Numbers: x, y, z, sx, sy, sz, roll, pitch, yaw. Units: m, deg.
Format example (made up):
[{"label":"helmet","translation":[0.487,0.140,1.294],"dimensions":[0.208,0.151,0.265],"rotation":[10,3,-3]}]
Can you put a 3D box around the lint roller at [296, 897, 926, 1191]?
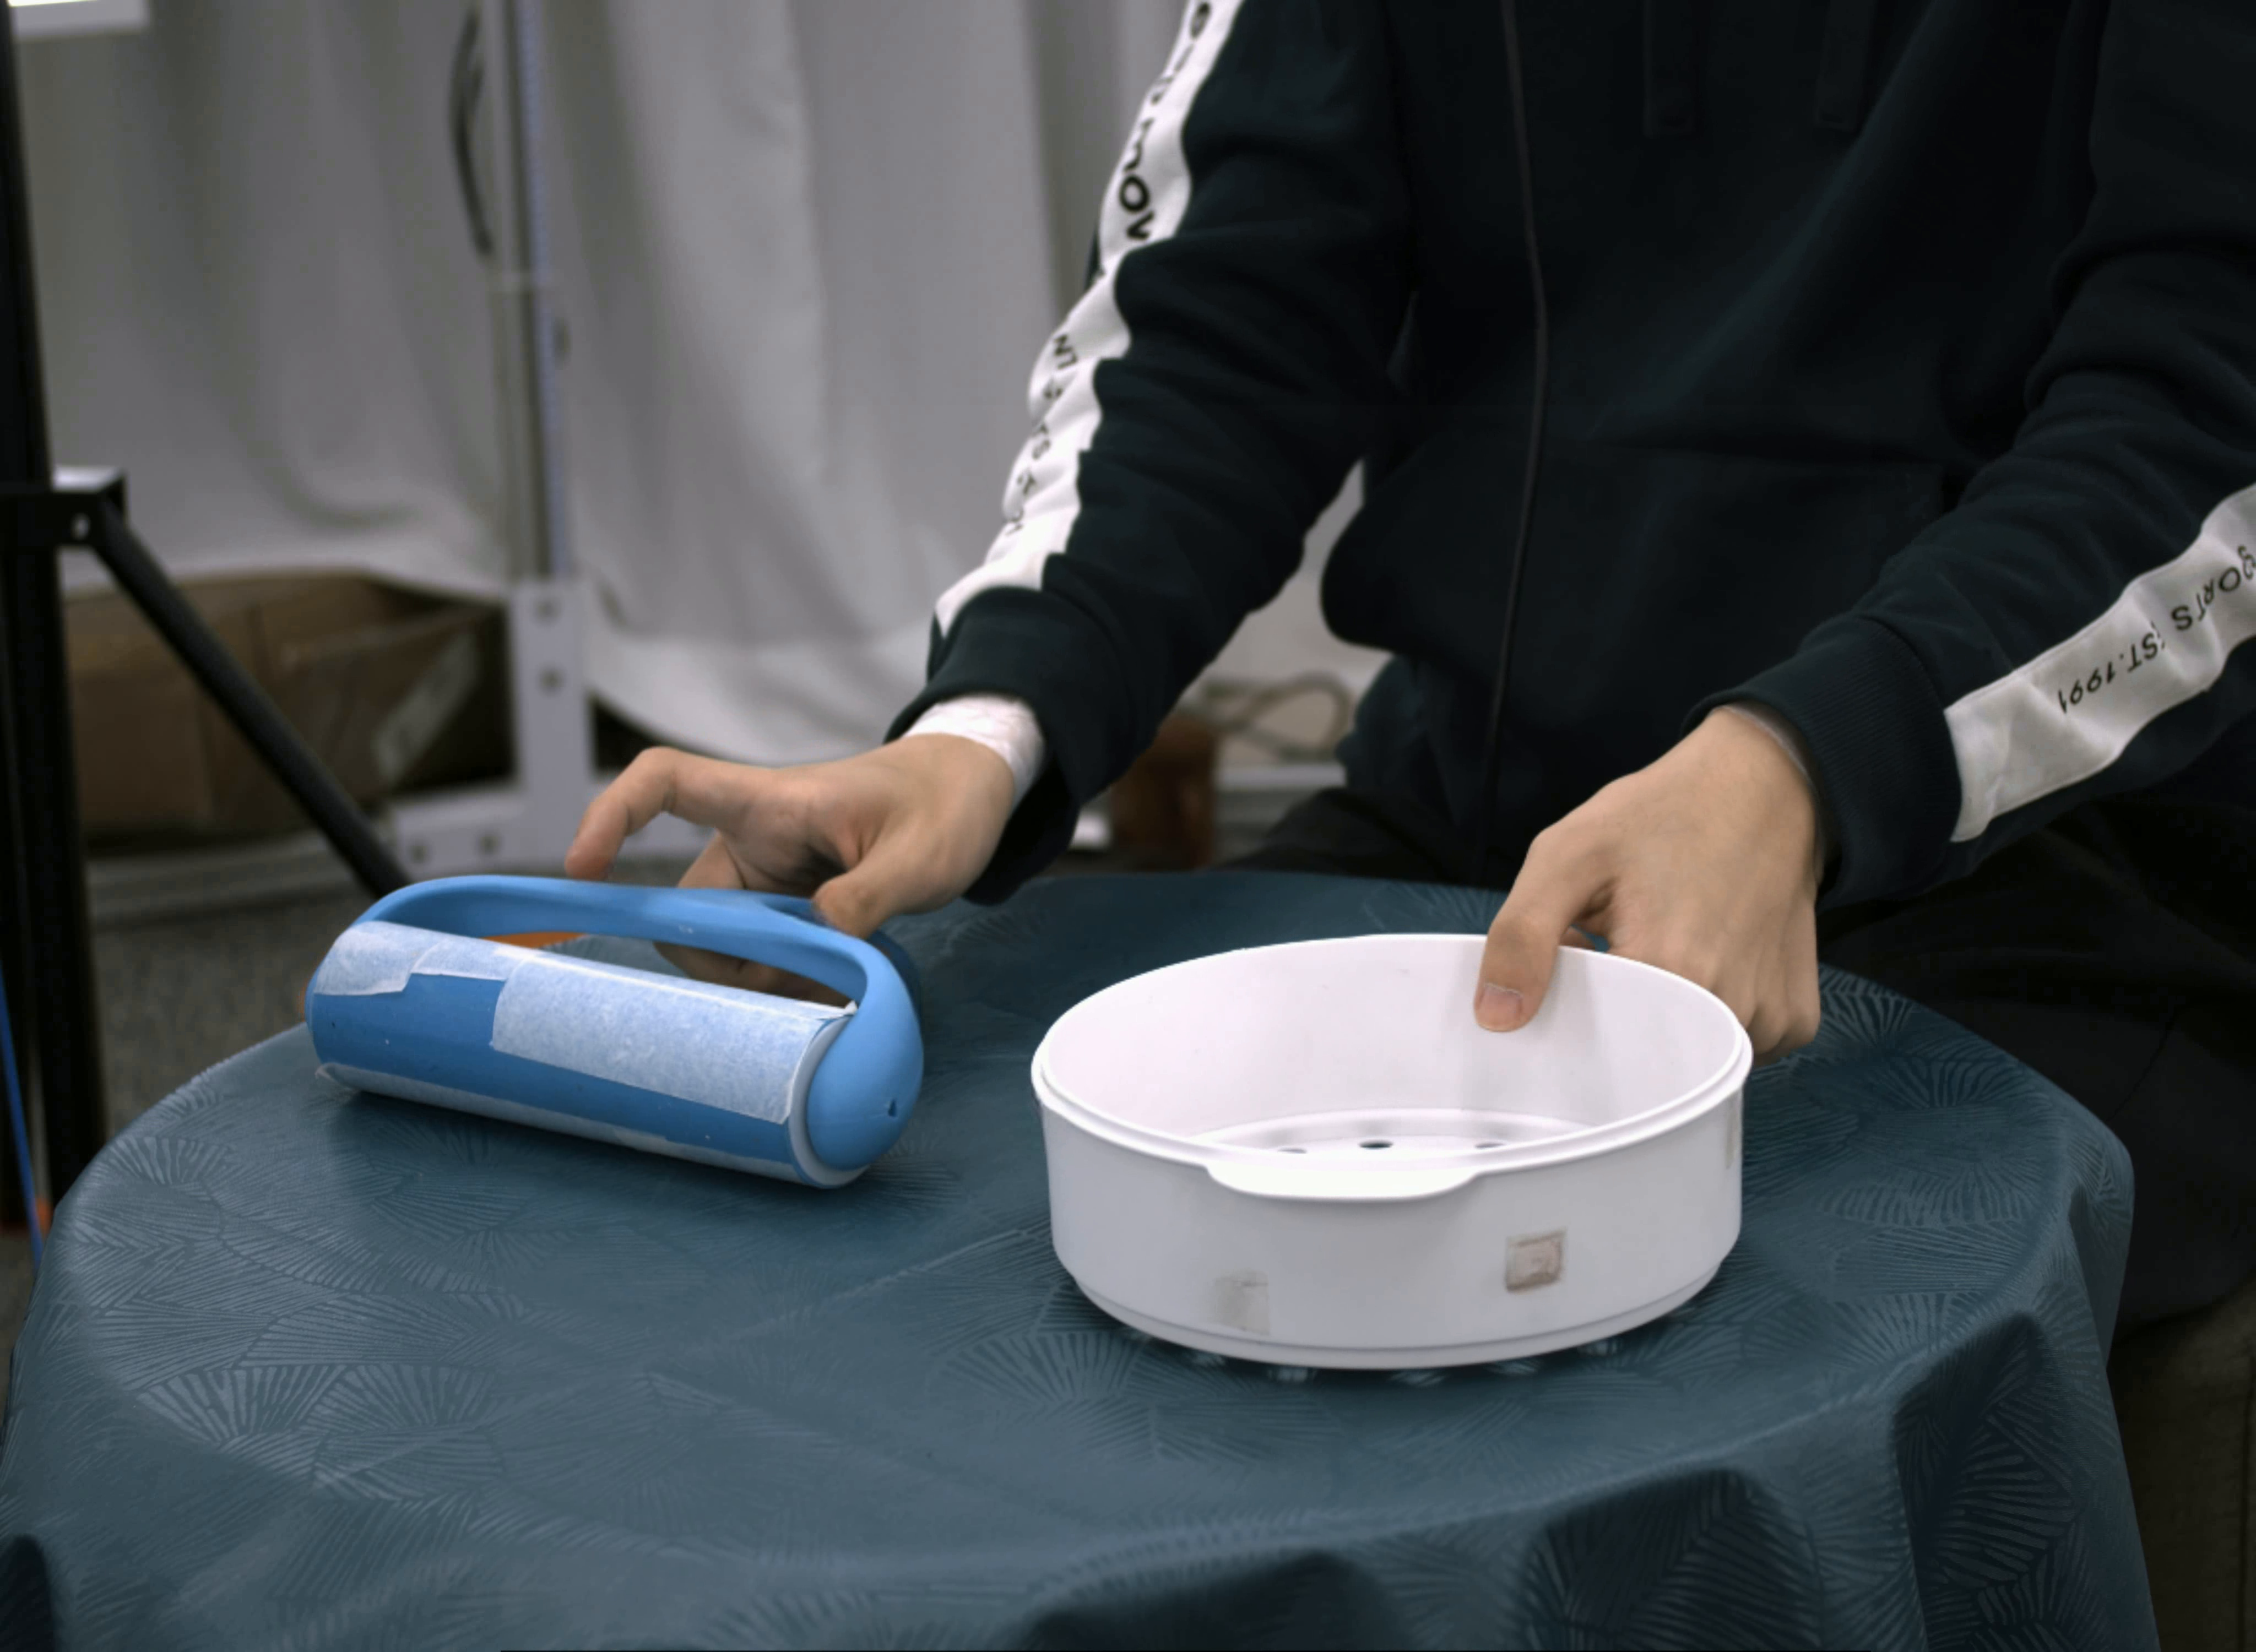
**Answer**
[{"label":"lint roller","translation":[-0.132,0.055,1.670],"dimensions":[0.233,0.068,0.177],"rotation":[4,19,32]}]

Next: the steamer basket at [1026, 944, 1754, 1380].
[{"label":"steamer basket","translation":[0.073,0.093,1.473],"dimensions":[0.203,0.069,0.229],"rotation":[2,16,12]}]
